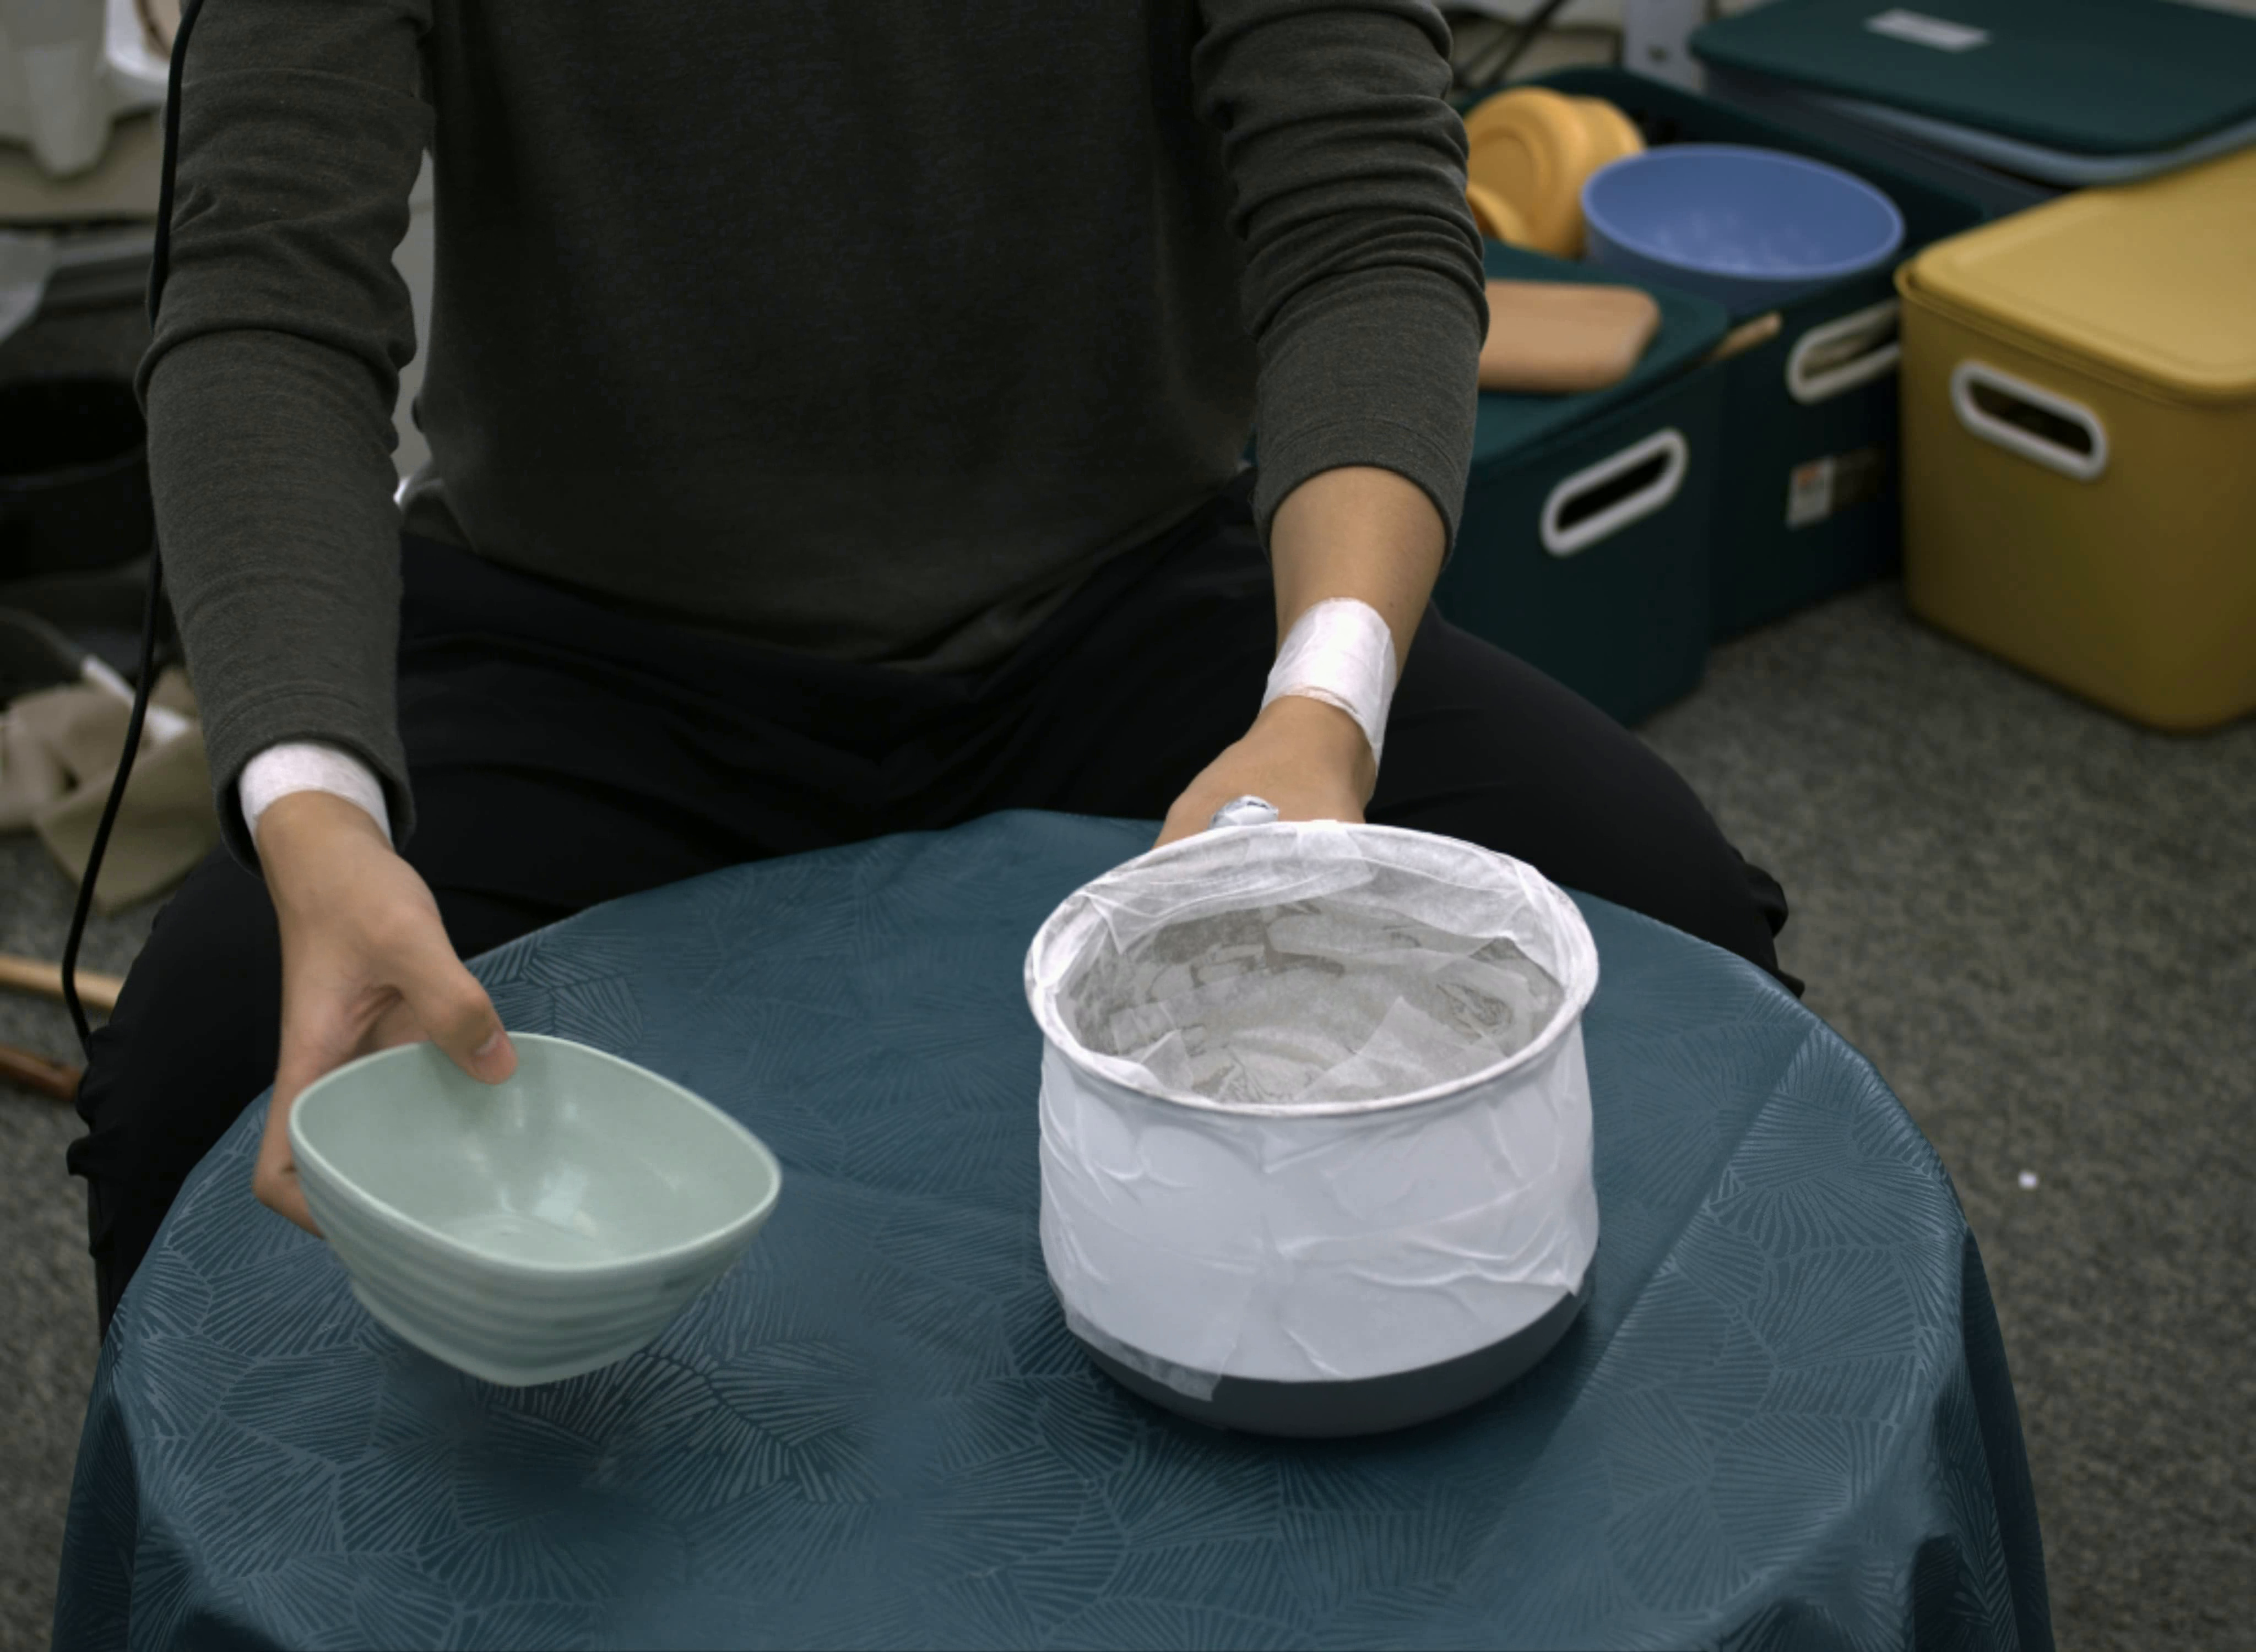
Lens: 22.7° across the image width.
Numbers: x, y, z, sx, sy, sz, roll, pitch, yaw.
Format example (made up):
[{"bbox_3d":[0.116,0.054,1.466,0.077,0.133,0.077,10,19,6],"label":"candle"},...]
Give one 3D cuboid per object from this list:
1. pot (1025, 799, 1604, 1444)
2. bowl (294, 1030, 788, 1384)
[{"bbox_3d":[0.054,0.085,1.780,0.178,0.135,0.236,-8,28,-8],"label":"pot"},{"bbox_3d":[-0.182,0.122,1.717,0.151,0.058,0.153,9,22,-3],"label":"bowl"}]
